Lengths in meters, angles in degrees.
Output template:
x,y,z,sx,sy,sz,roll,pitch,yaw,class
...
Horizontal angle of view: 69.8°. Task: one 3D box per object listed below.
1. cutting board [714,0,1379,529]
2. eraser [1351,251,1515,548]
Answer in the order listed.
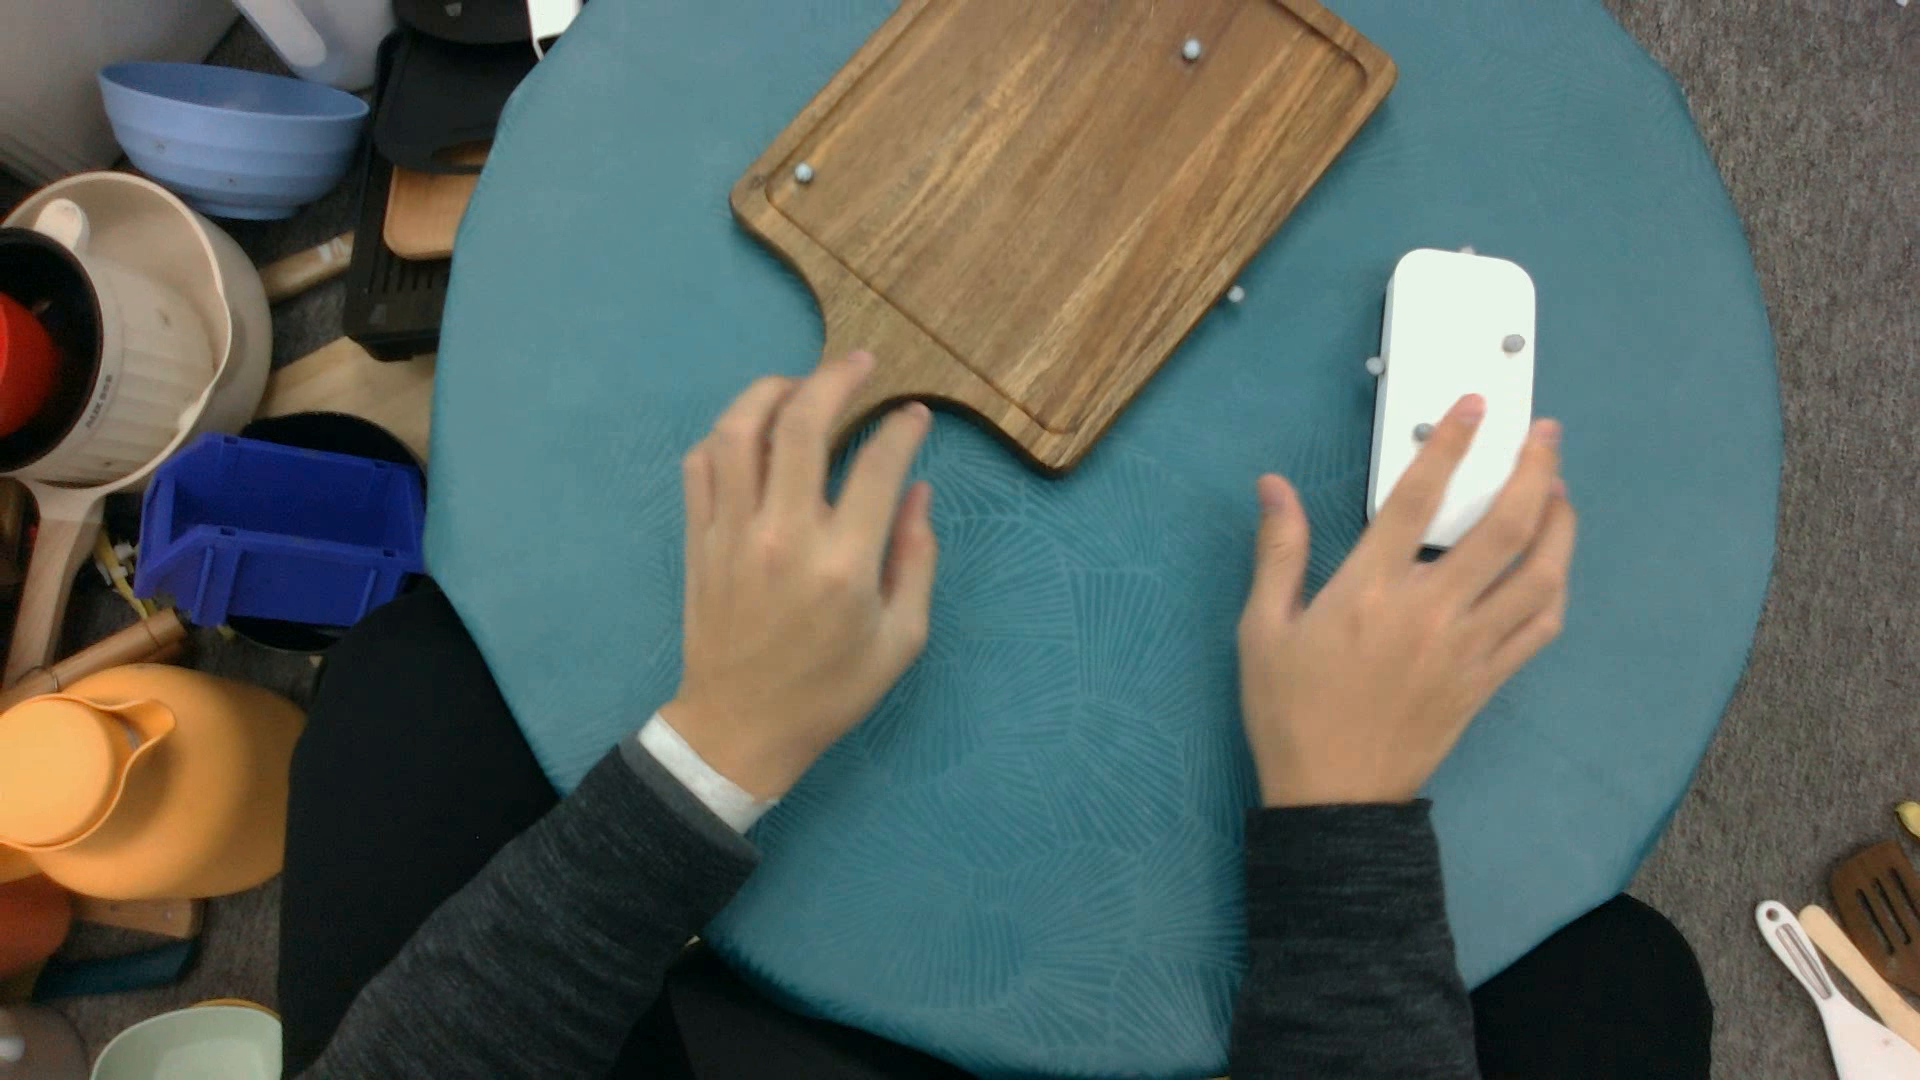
x,y,z,sx,sy,sz,roll,pitch,yaw,class
0.012,-0.145,0.618,0.201,0.023,0.353,39,79,6,cutting board
0.205,-0.062,0.603,0.063,0.034,0.131,10,76,-1,eraser
